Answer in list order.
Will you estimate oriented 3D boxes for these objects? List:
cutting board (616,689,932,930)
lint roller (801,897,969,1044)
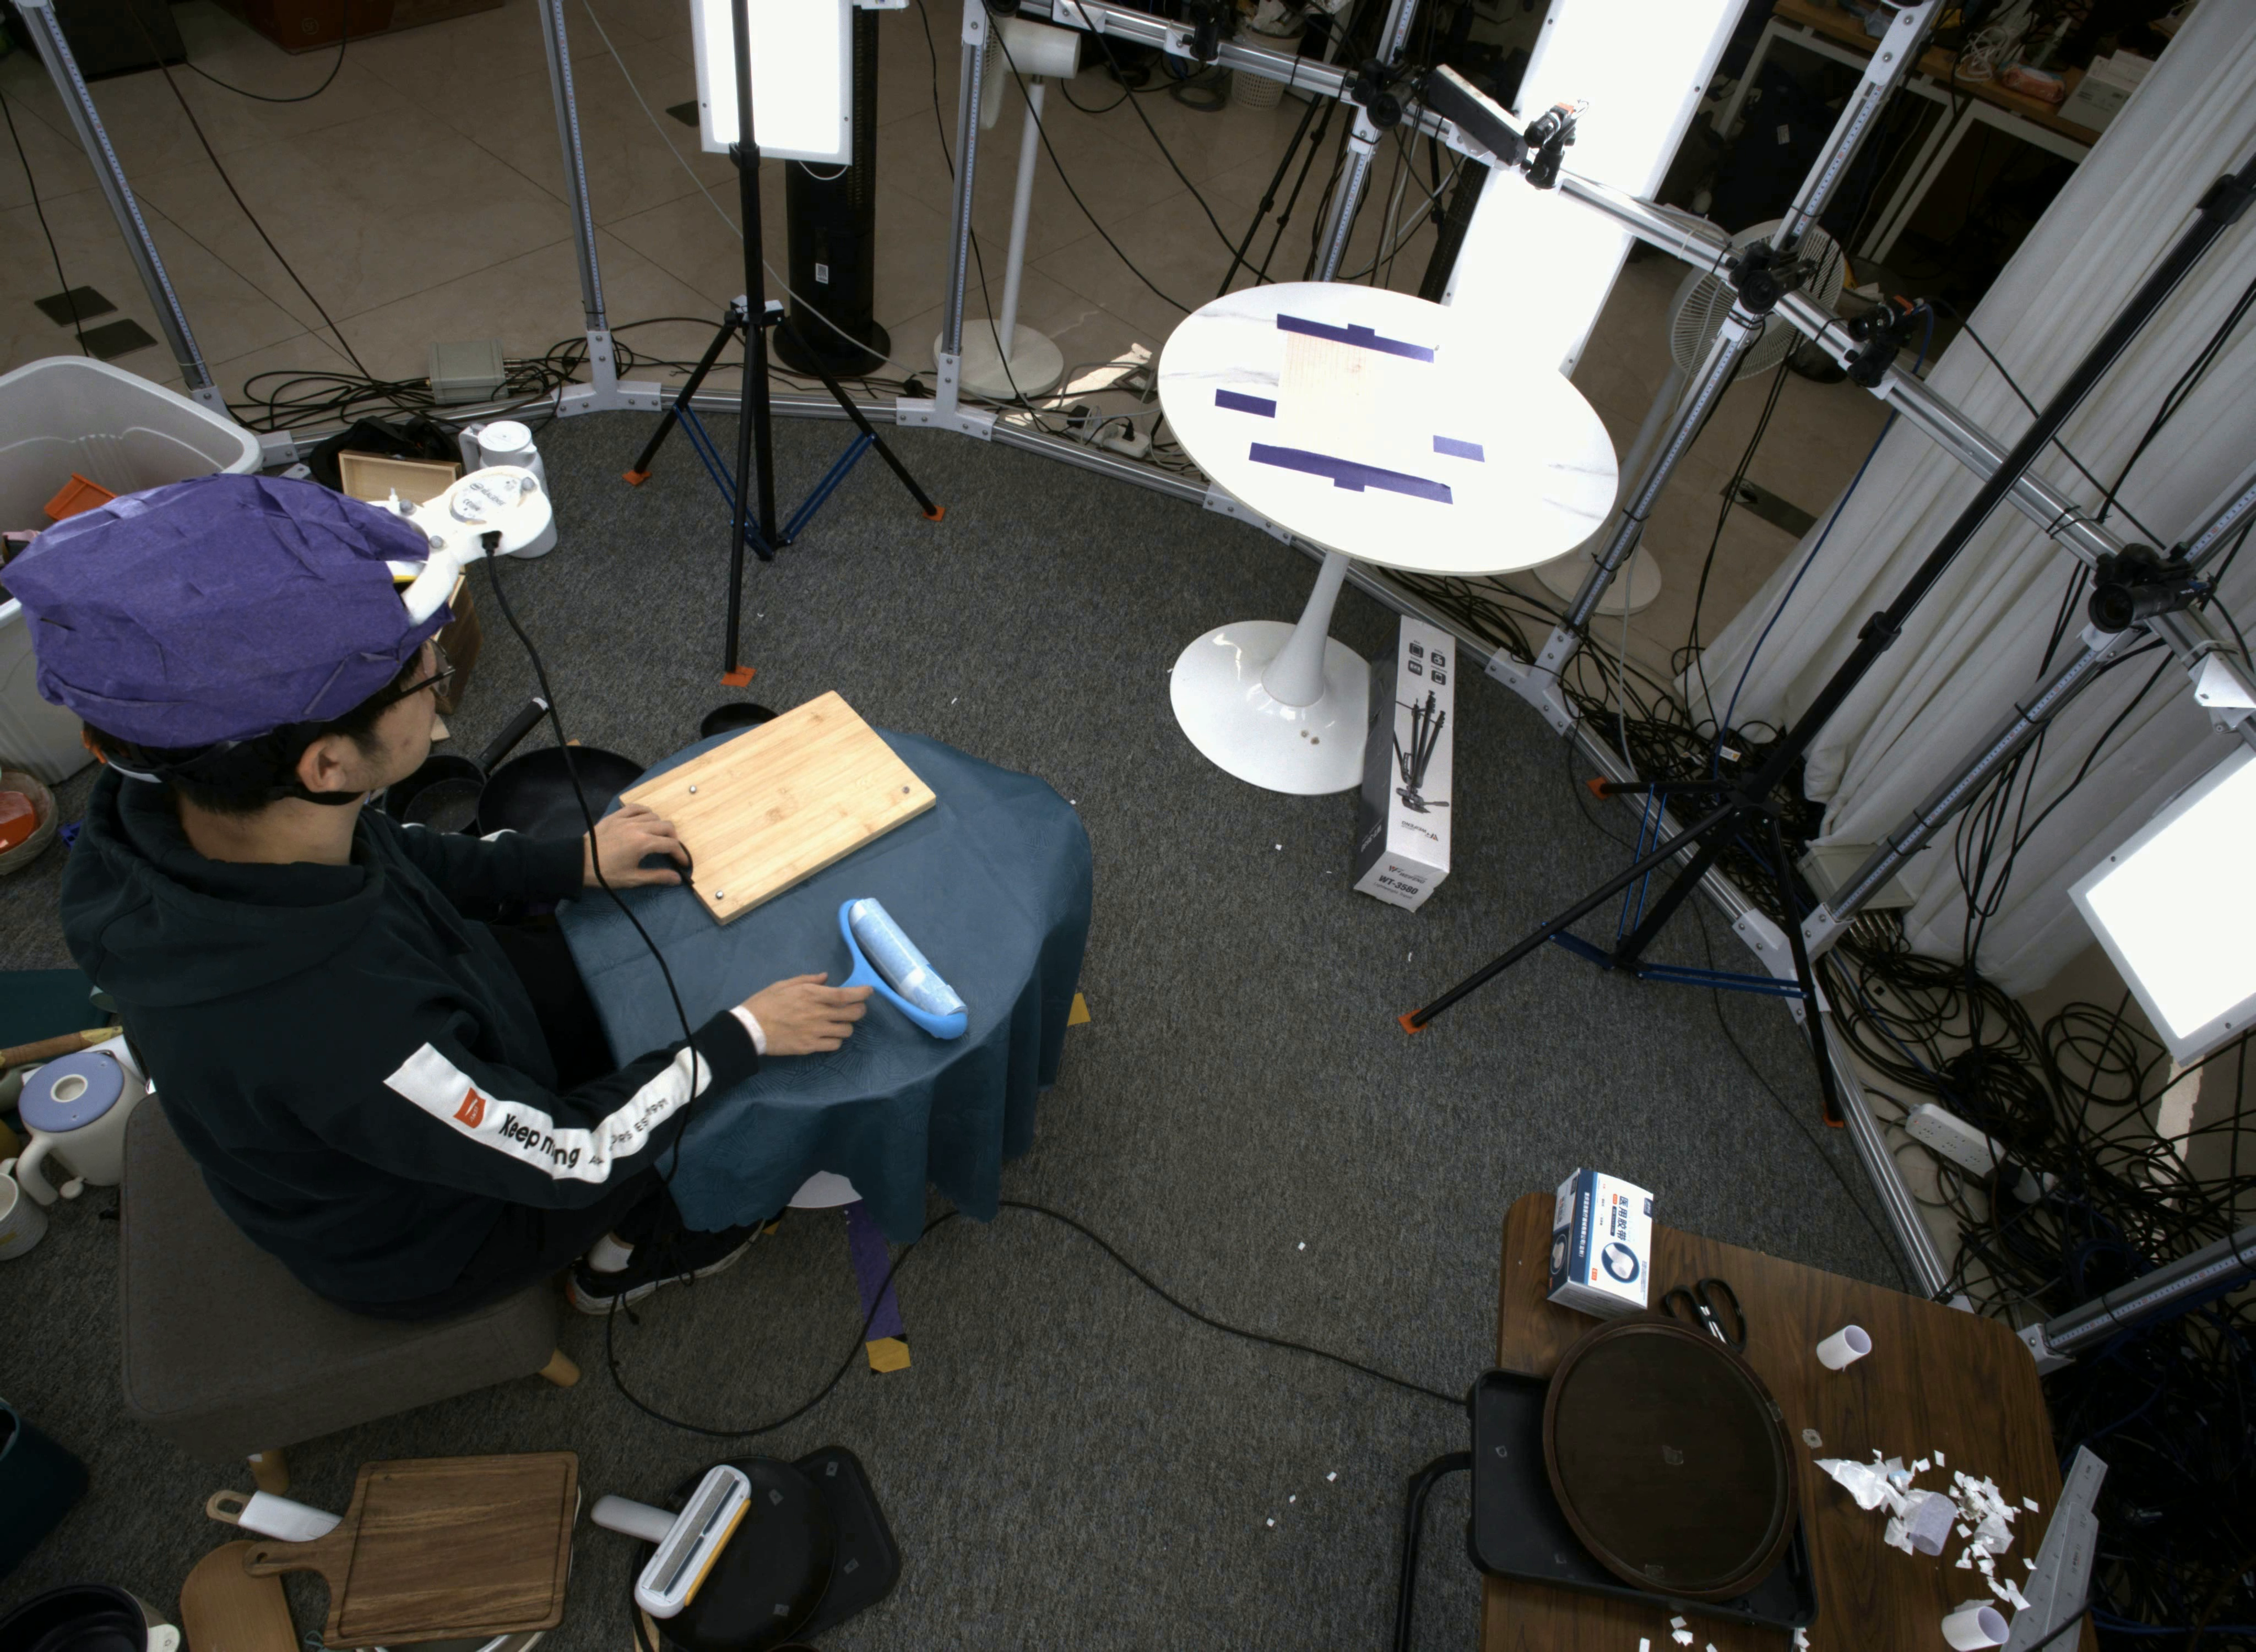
[{"bbox_3d":[-0.469,-0.033,1.732,0.349,0.024,0.245,-34,69,-33],"label":"cutting board"},{"bbox_3d":[-0.317,0.197,1.576,0.181,0.069,0.224,-35,70,-33],"label":"lint roller"}]
